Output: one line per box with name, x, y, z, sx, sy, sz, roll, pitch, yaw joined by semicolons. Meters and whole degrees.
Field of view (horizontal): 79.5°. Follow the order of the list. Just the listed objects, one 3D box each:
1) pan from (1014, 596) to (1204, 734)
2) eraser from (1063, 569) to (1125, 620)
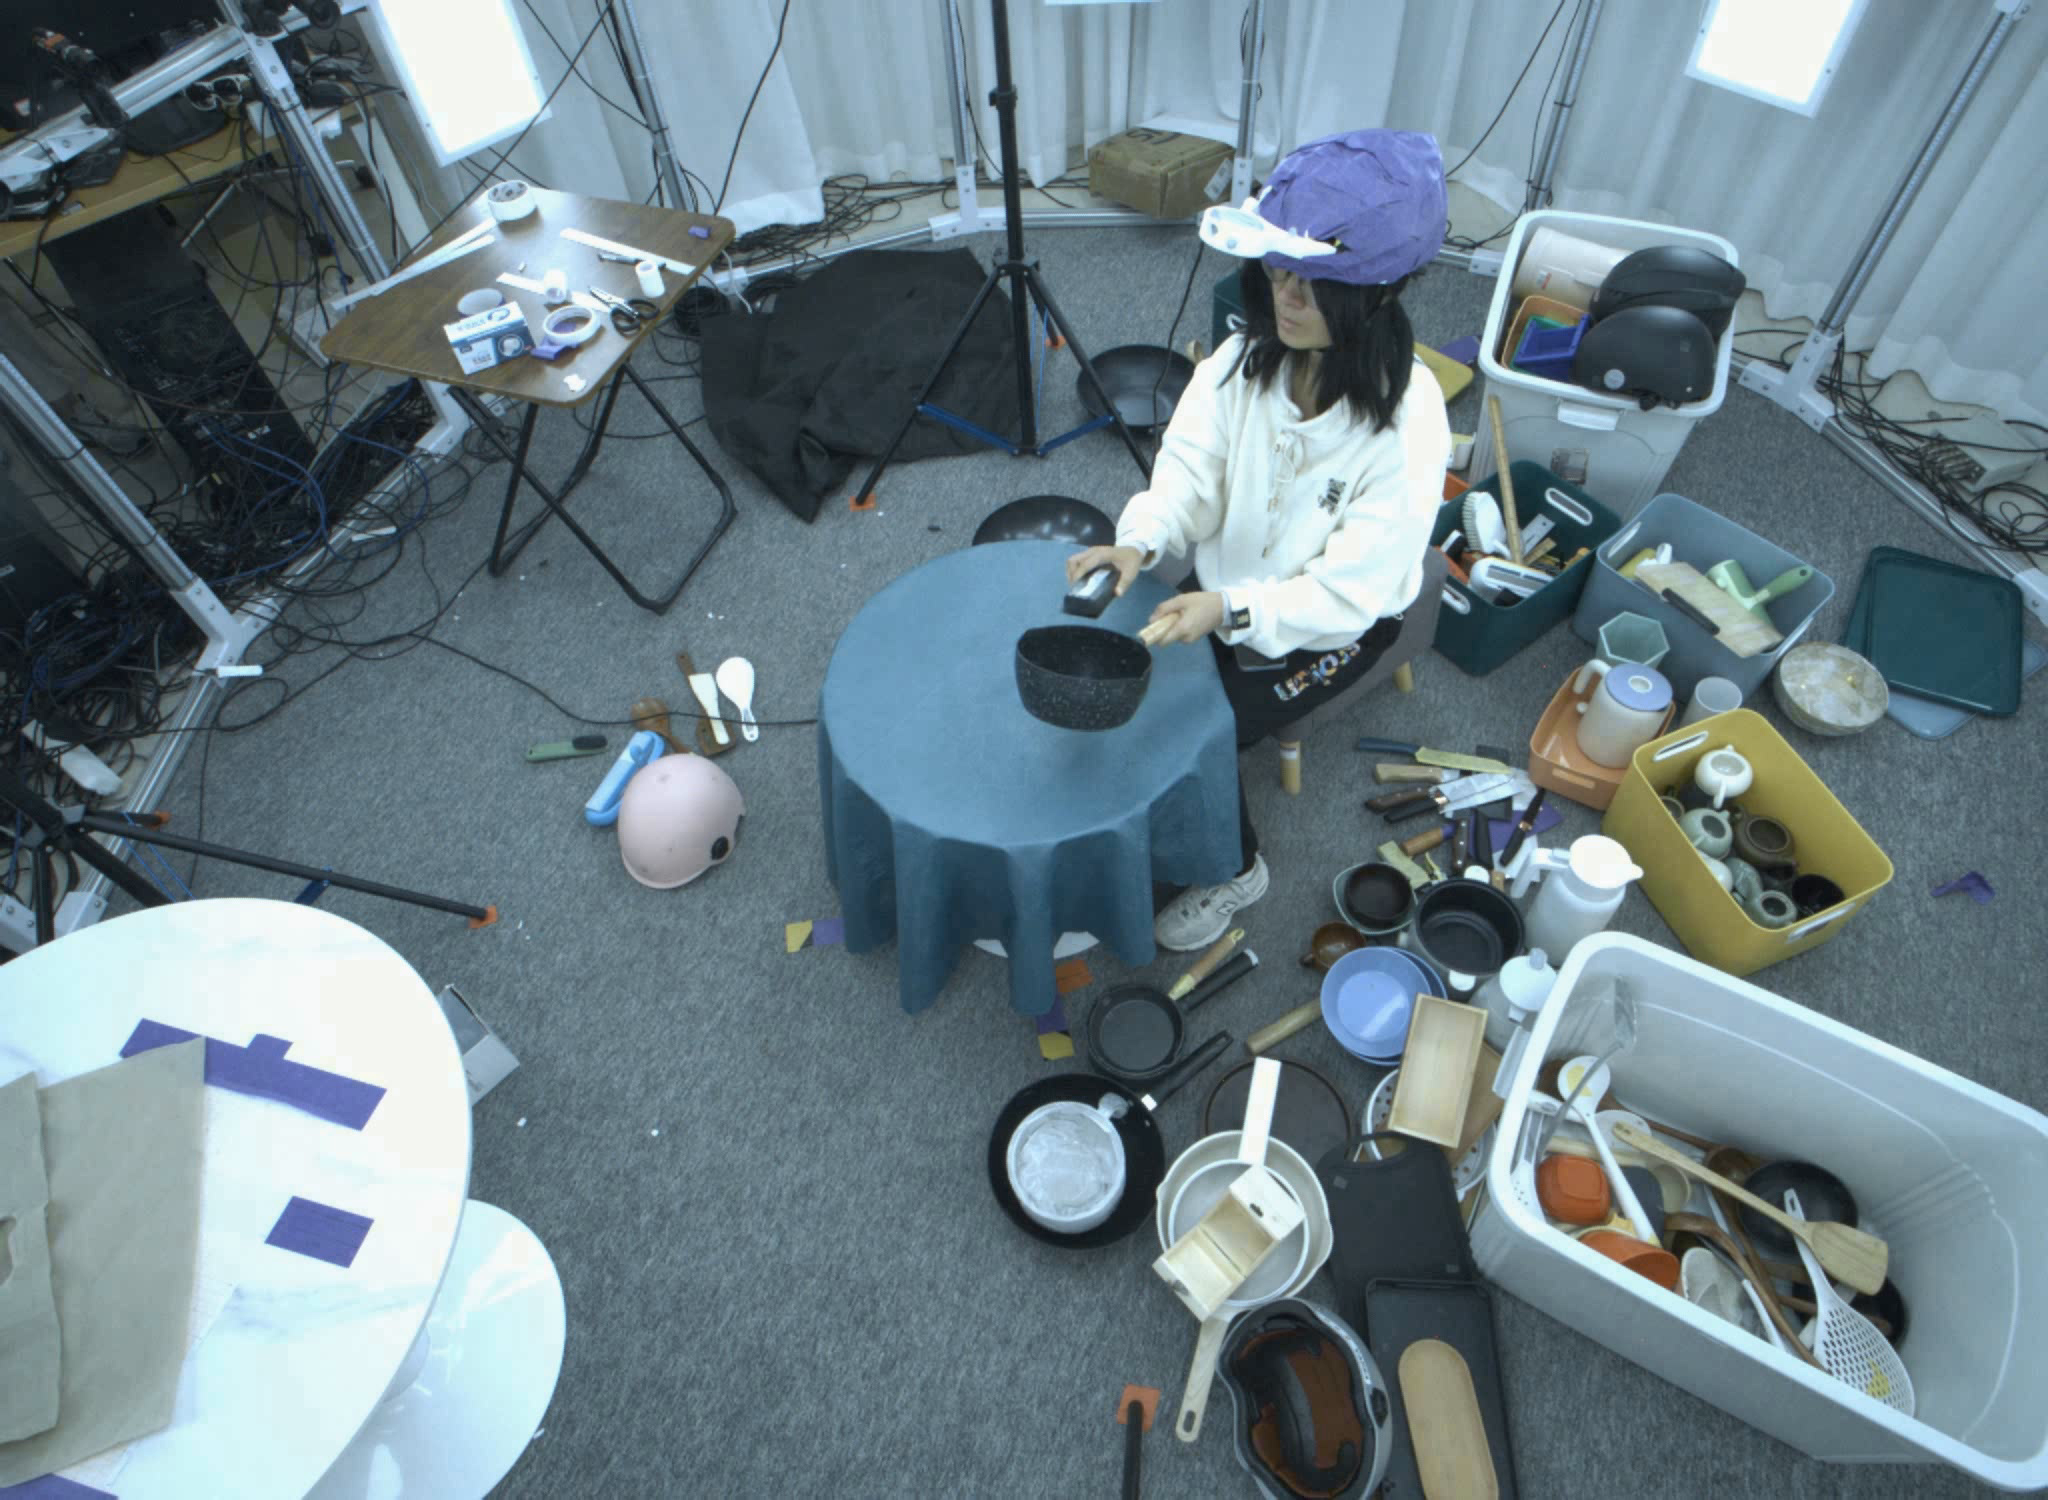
pan;0.131;-0.126;1.701;0.203;0.109;0.348;27;36;34
eraser;0.099;-0.221;1.737;0.053;0.030;0.126;13;30;16
